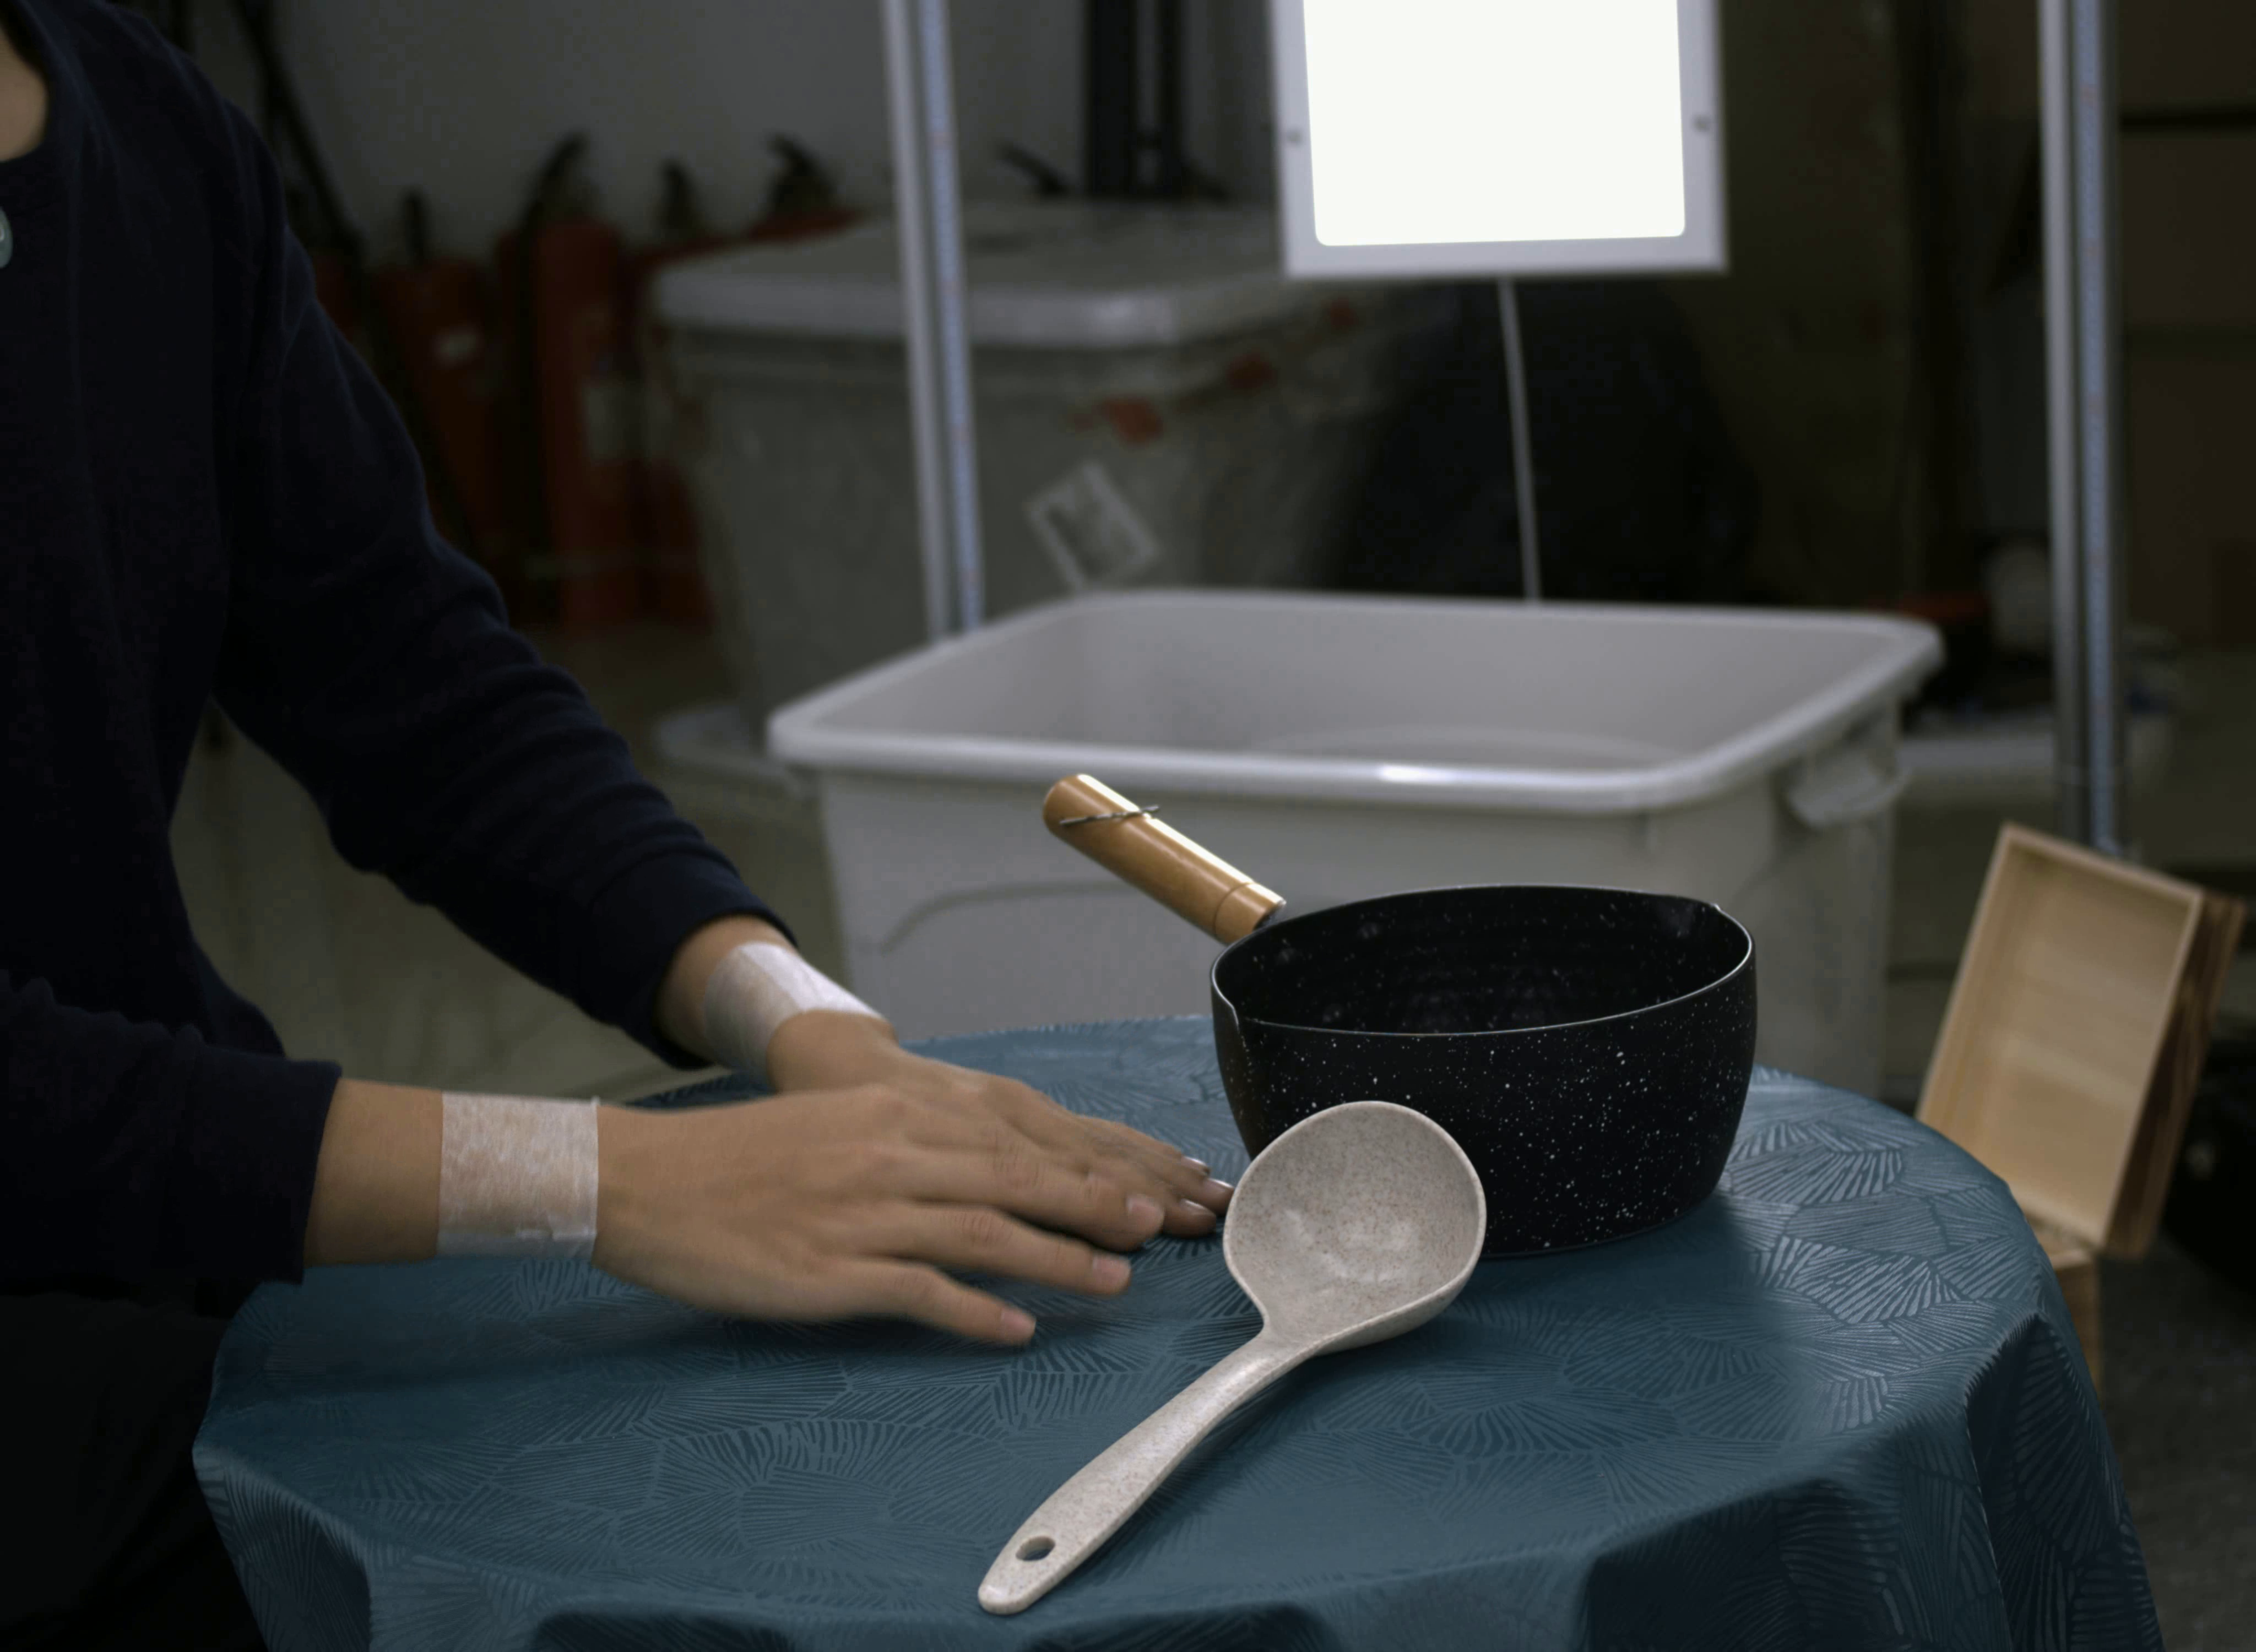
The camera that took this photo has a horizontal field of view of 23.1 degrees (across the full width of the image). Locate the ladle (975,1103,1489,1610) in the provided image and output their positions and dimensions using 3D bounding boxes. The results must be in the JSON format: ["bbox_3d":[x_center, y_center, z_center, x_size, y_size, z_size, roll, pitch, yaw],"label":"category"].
[{"bbox_3d":[0.023,0.152,1.638,0.091,0.070,0.269,8,18,26],"label":"ladle"}]

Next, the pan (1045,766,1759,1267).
[{"bbox_3d":[0.075,0.060,1.914,0.202,0.108,0.349,-15,18,-32],"label":"pan"}]
